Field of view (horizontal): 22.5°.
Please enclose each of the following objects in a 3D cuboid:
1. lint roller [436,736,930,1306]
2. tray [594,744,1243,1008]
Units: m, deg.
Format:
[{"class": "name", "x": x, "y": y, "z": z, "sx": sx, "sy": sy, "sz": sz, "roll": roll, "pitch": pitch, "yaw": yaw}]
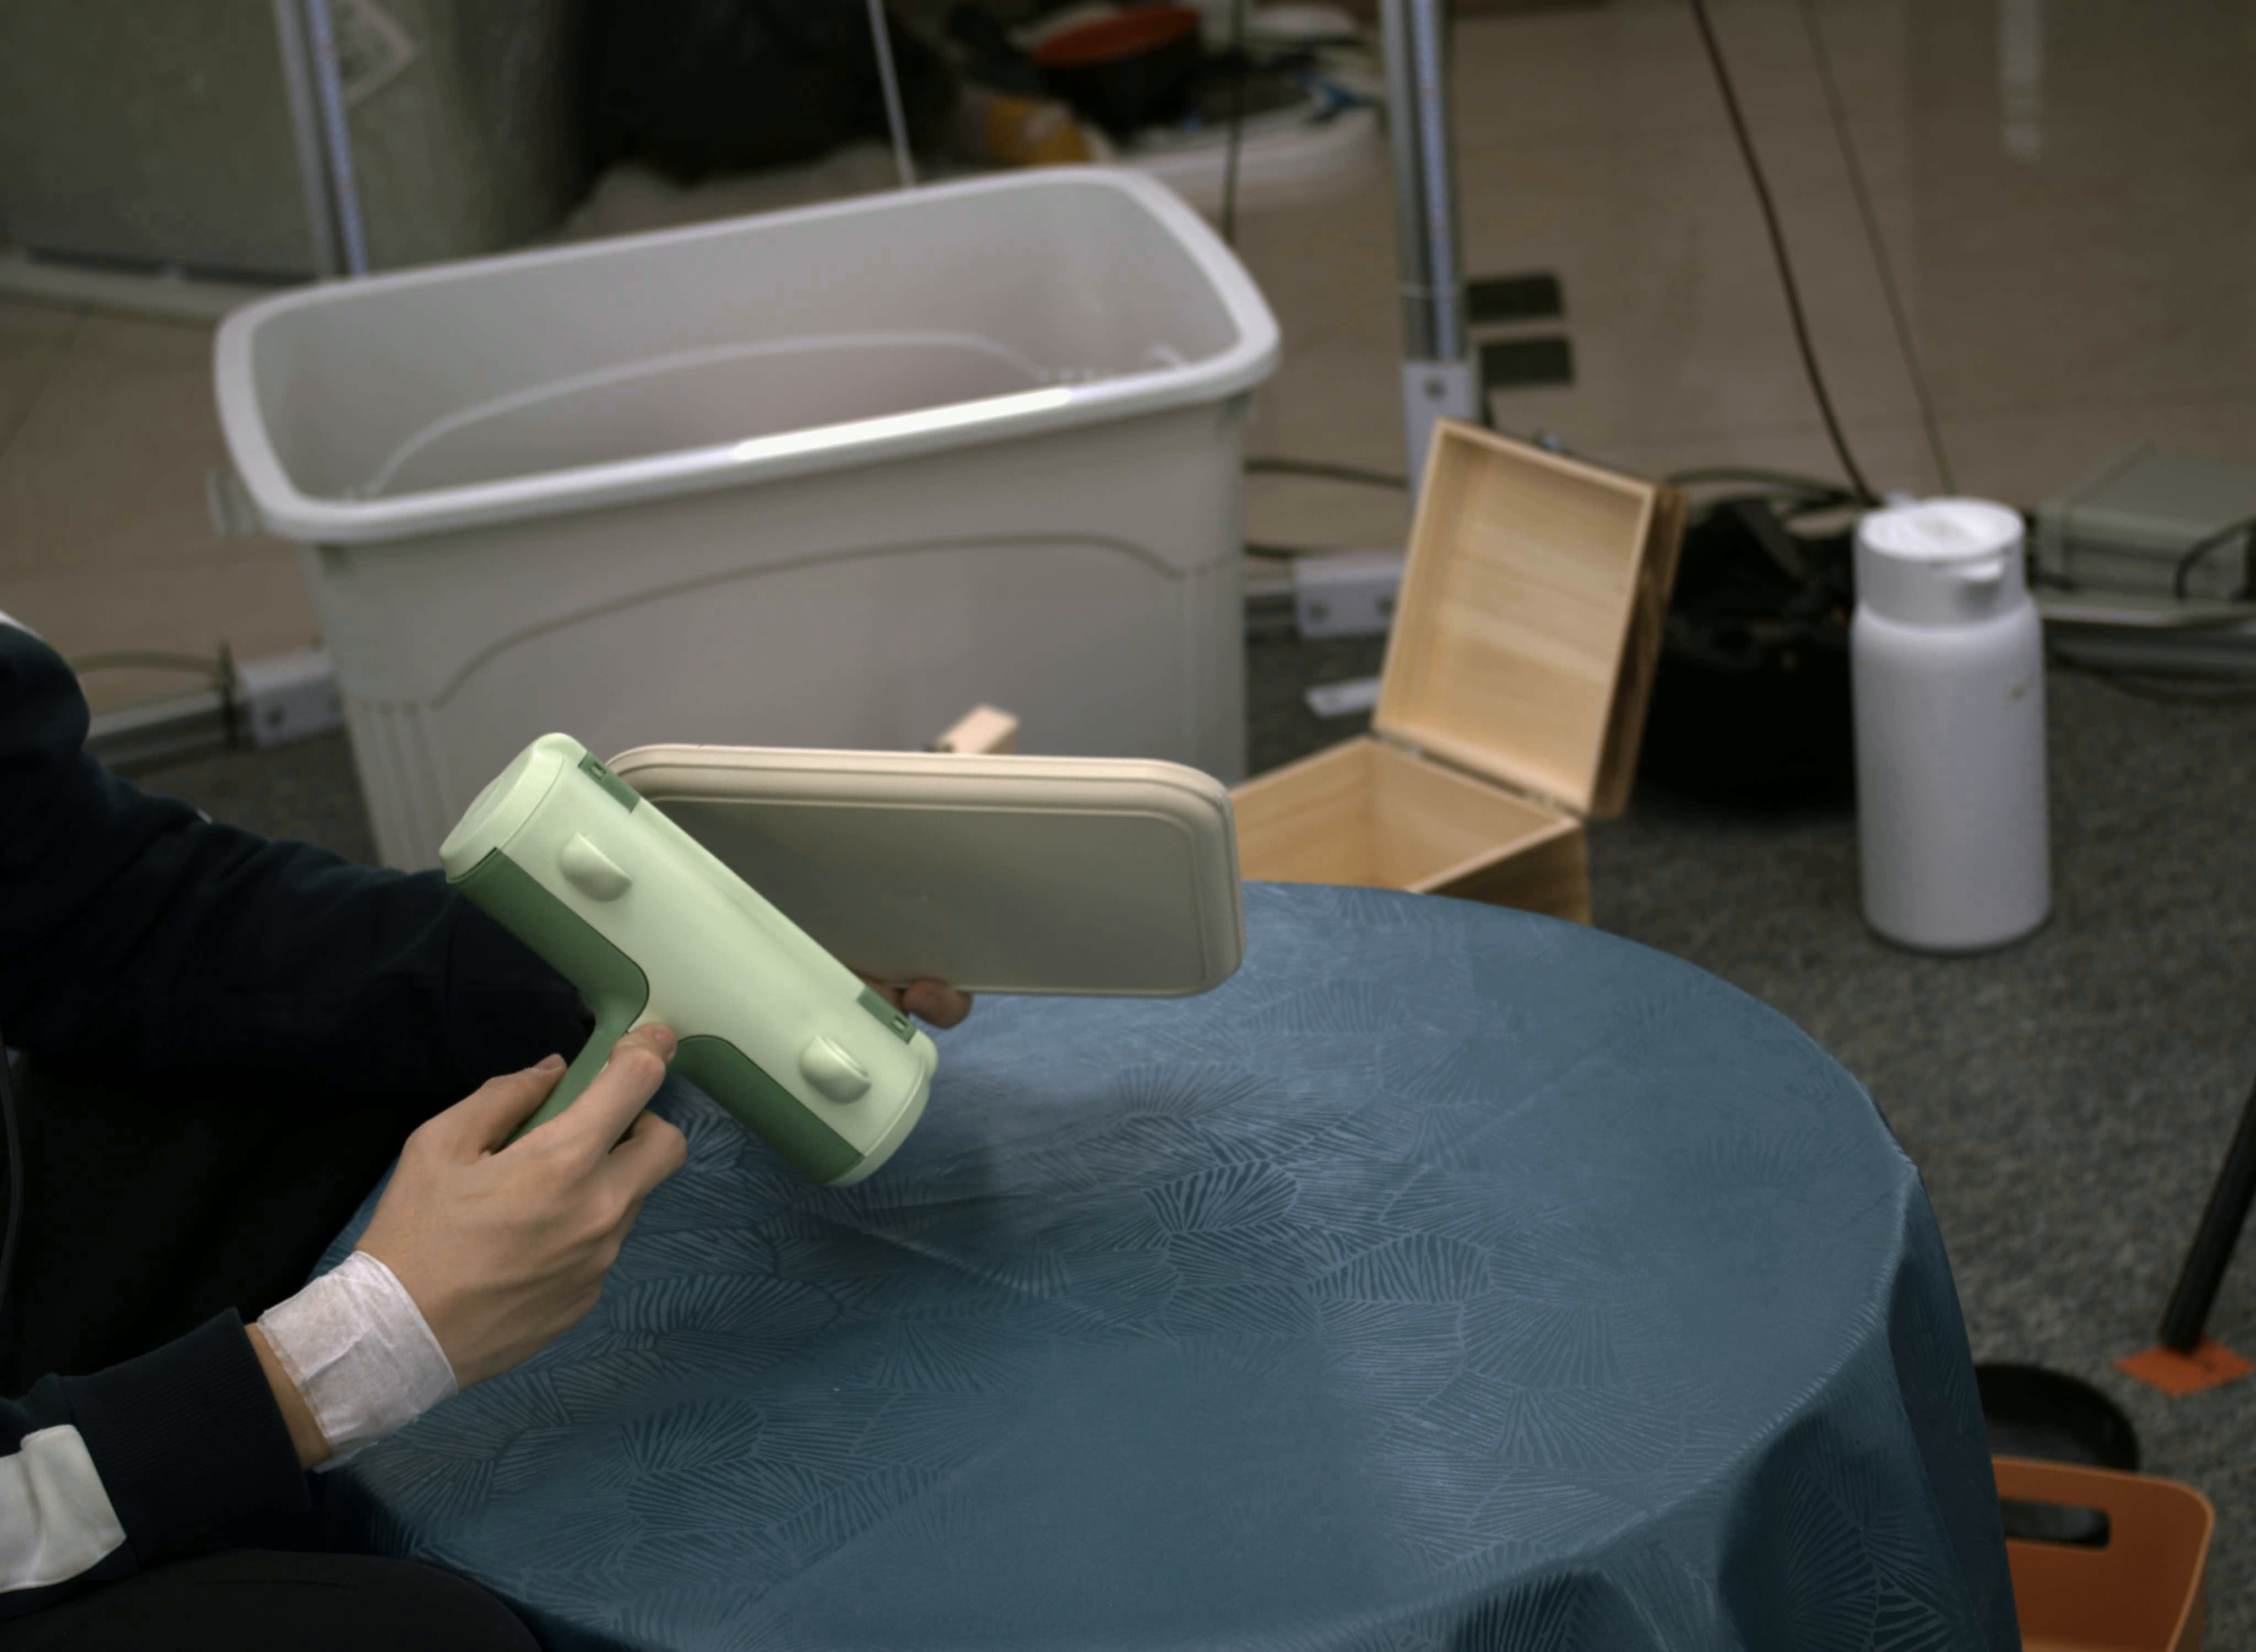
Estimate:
[{"class": "lint roller", "x": -0.180, "y": 0.092, "z": 2.017, "sx": 0.082, "sy": 0.200, "sz": 0.181, "roll": -21, "pitch": 32, "yaw": 54}, {"class": "tray", "x": -0.078, "y": 0.022, "z": 2.140, "sx": 0.239, "sy": 0.174, "sz": 0.017, "roll": 2, "pitch": 60, "yaw": 6}]
